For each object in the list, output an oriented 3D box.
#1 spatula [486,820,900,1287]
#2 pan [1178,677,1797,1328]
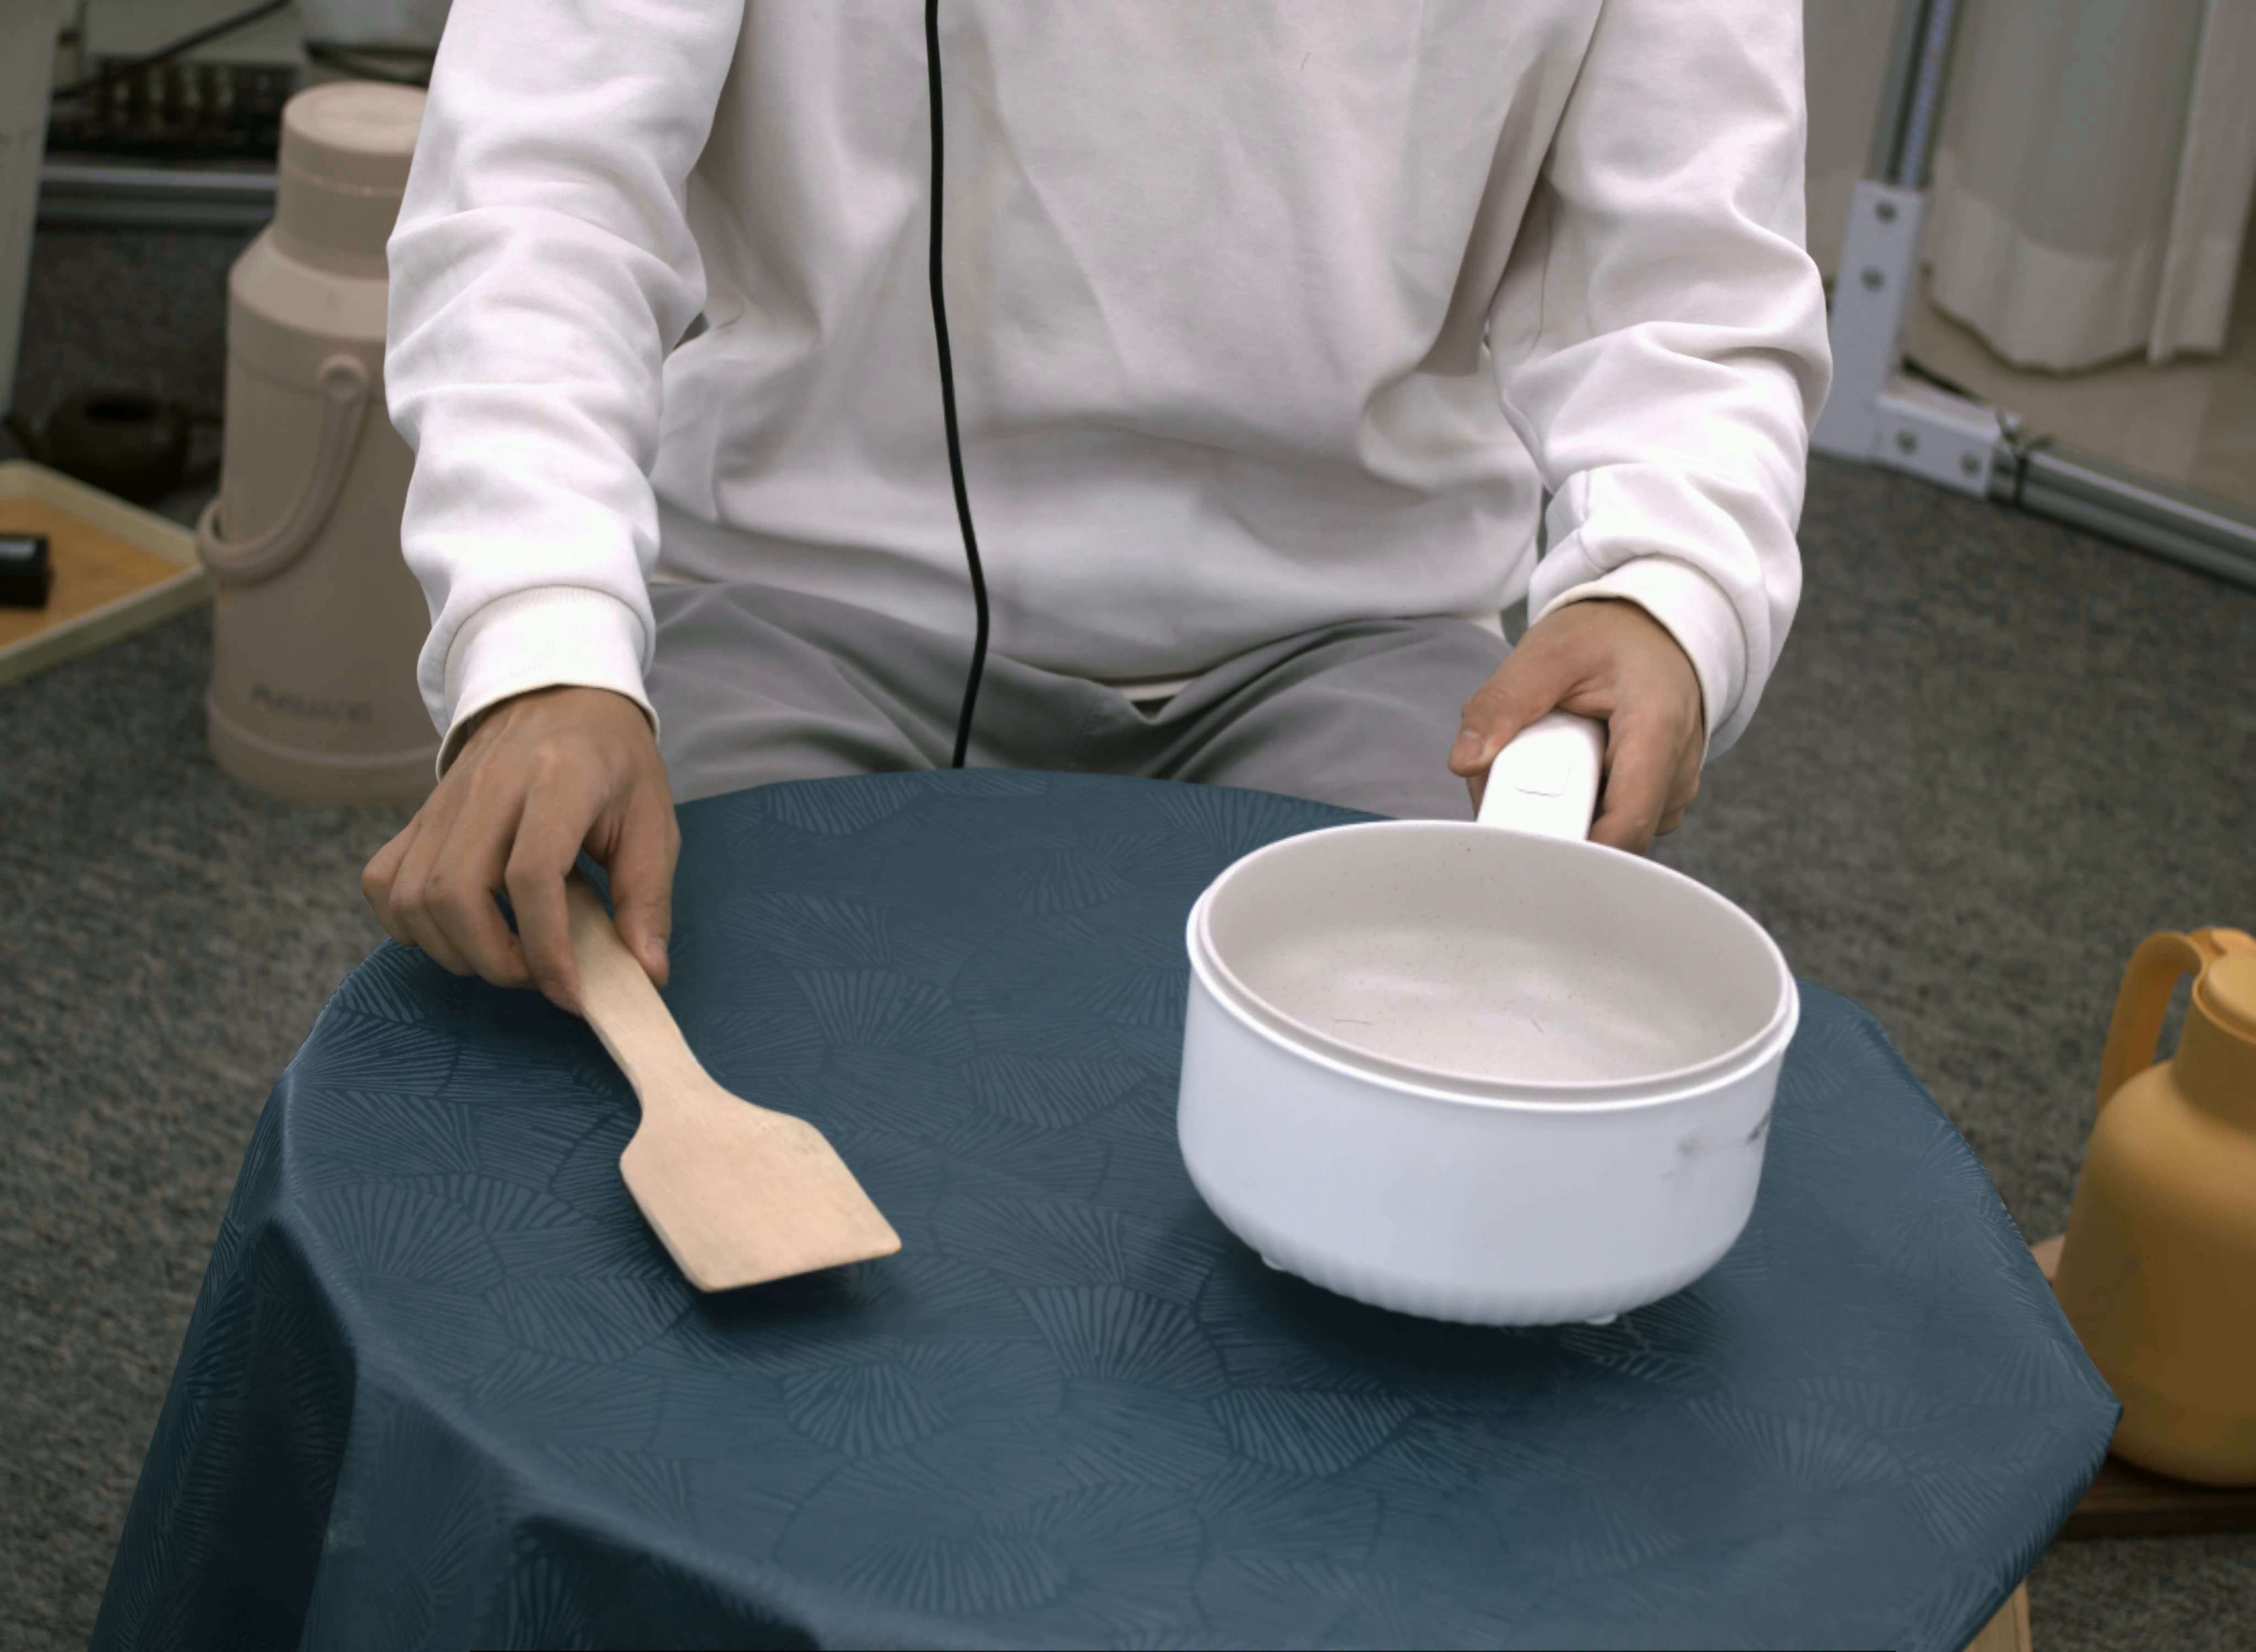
[{"bbox_3d":[-0.164,0.073,1.817,0.072,0.010,0.296,-10,33,-22],"label":"spatula"},{"bbox_3d":[0.128,0.056,1.825,0.201,0.102,0.356,8,23,7],"label":"pan"}]
